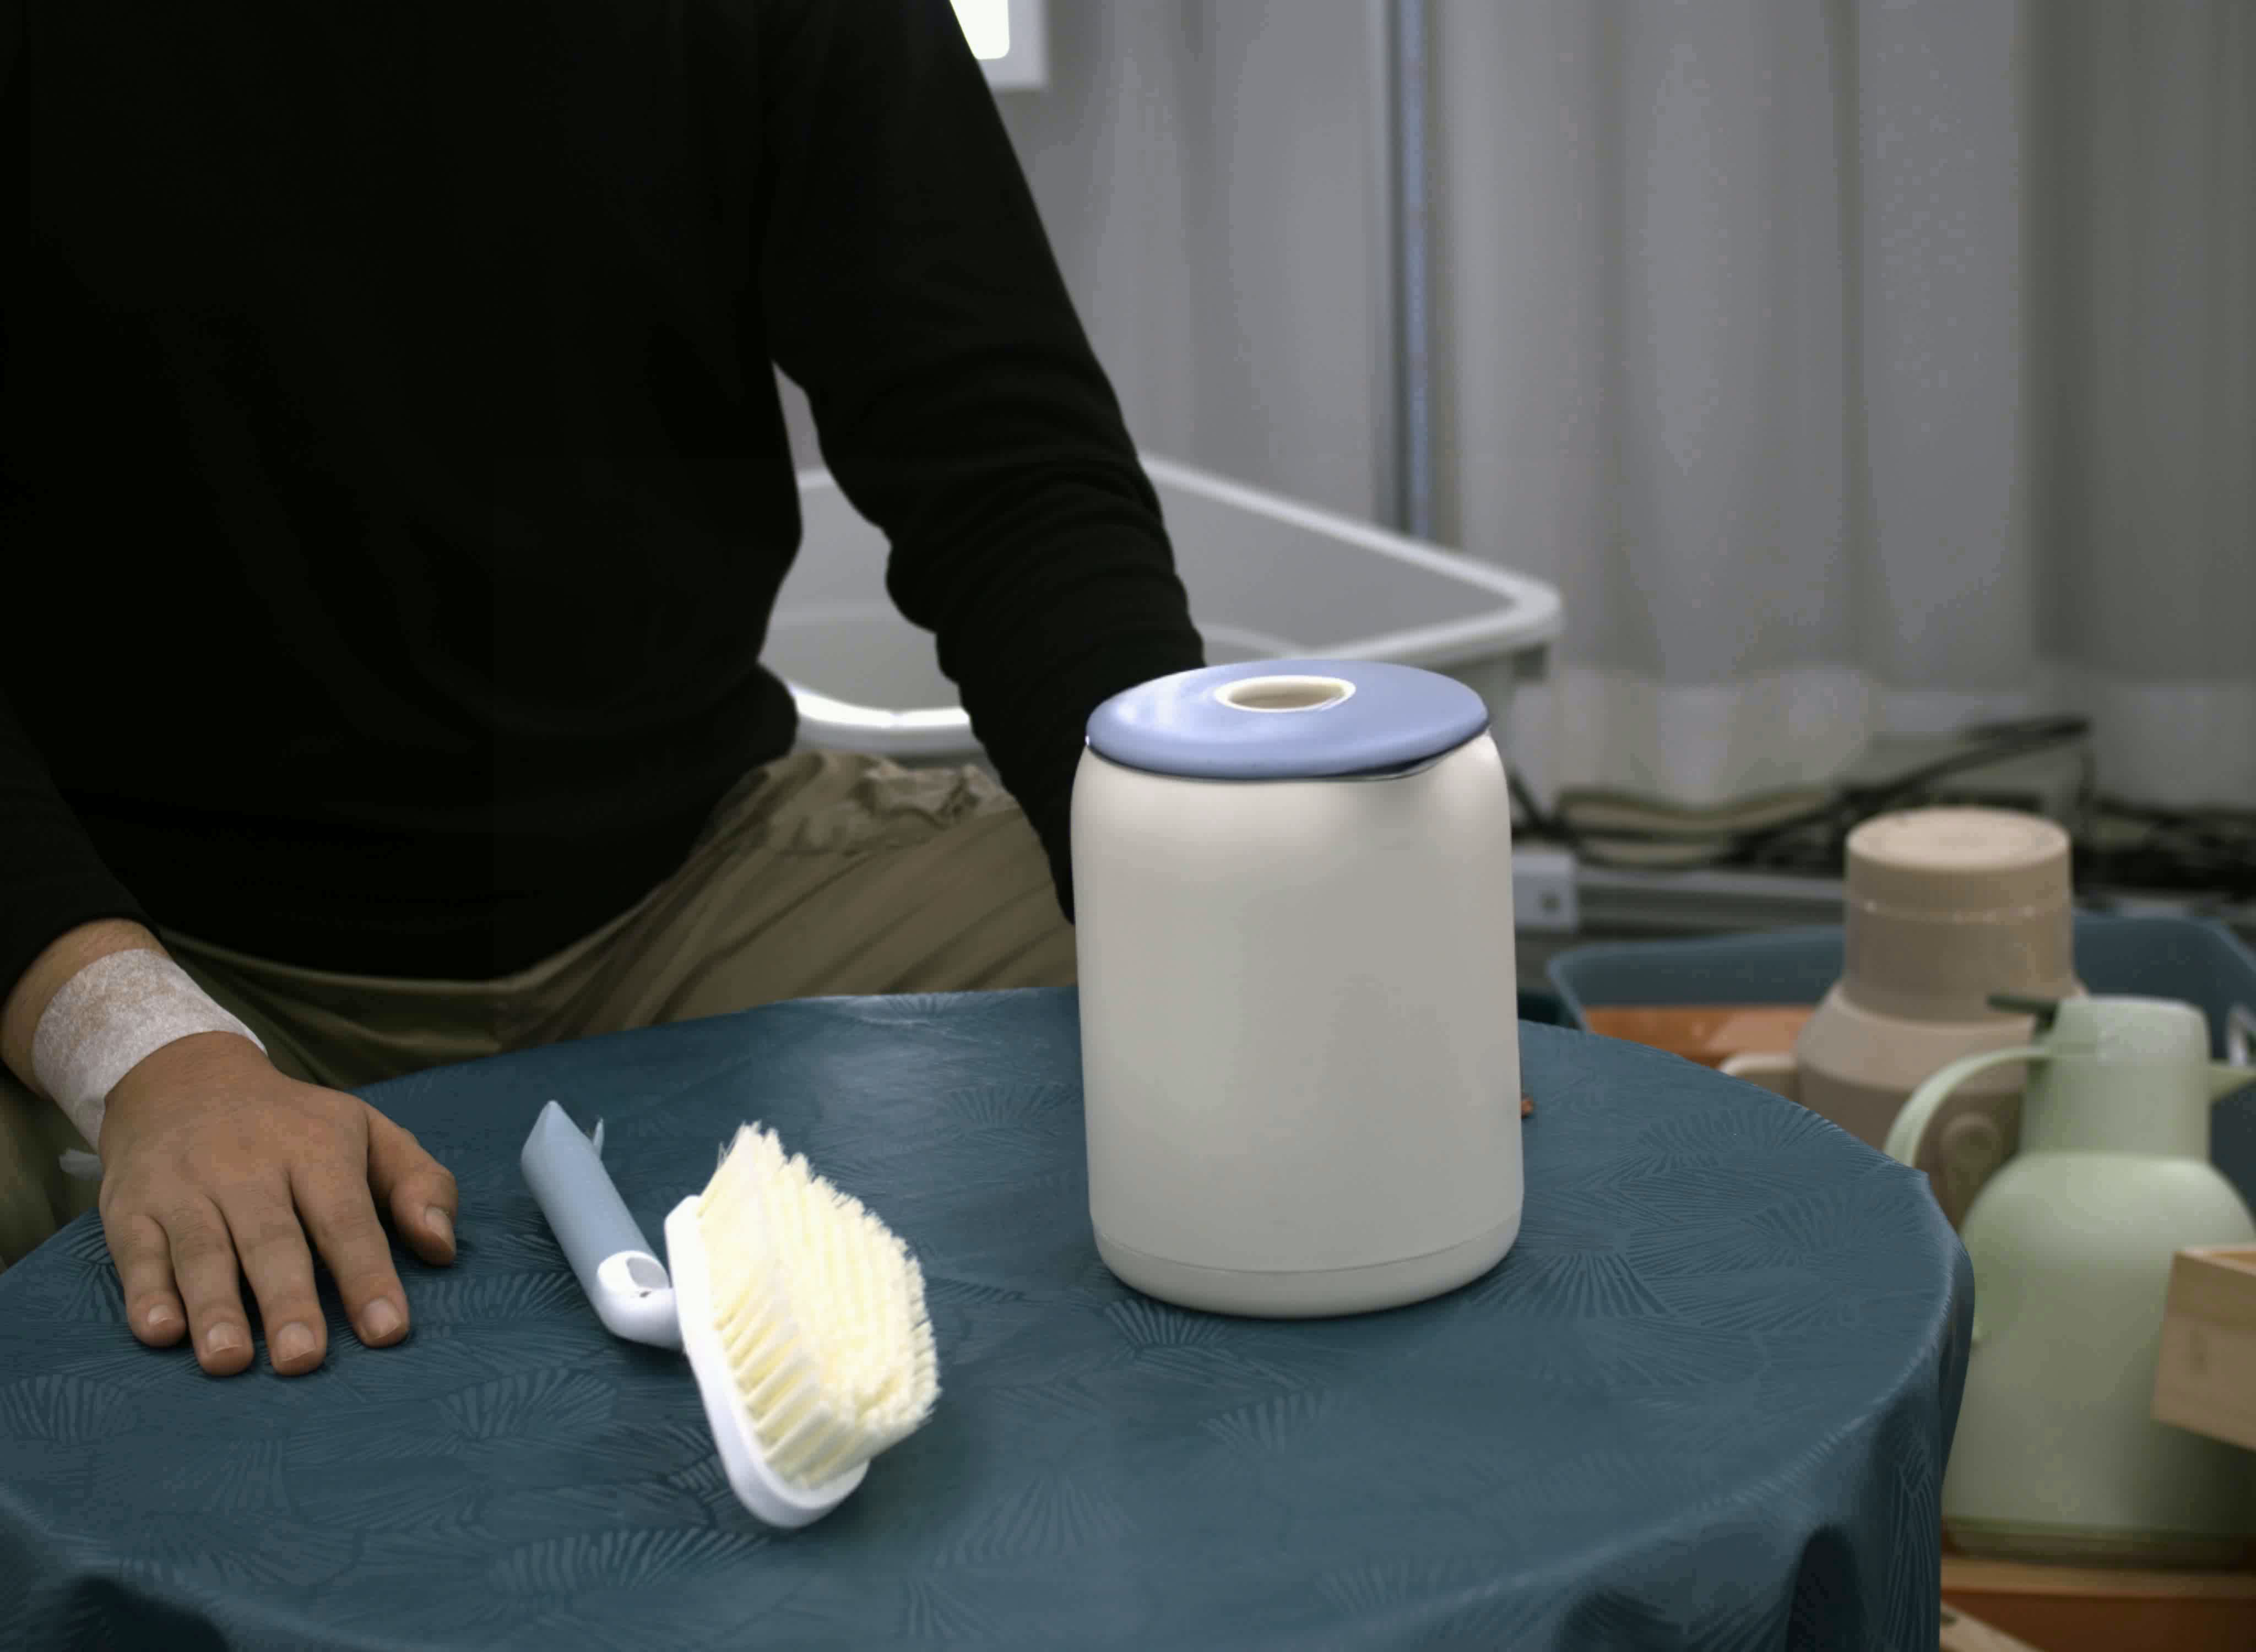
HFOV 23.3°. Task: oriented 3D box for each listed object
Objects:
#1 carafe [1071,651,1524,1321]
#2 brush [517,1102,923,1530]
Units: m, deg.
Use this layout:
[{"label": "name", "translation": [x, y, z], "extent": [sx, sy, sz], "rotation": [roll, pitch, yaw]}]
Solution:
[{"label": "carafe", "translation": [0.038, 0.041, 1.650], "extent": [0.131, 0.182, 0.192], "rotation": [-10, 15, -28]}, {"label": "brush", "translation": [-0.120, 0.111, 1.592], "extent": [0.084, 0.082, 0.328], "rotation": [-13, 18, -12]}]
